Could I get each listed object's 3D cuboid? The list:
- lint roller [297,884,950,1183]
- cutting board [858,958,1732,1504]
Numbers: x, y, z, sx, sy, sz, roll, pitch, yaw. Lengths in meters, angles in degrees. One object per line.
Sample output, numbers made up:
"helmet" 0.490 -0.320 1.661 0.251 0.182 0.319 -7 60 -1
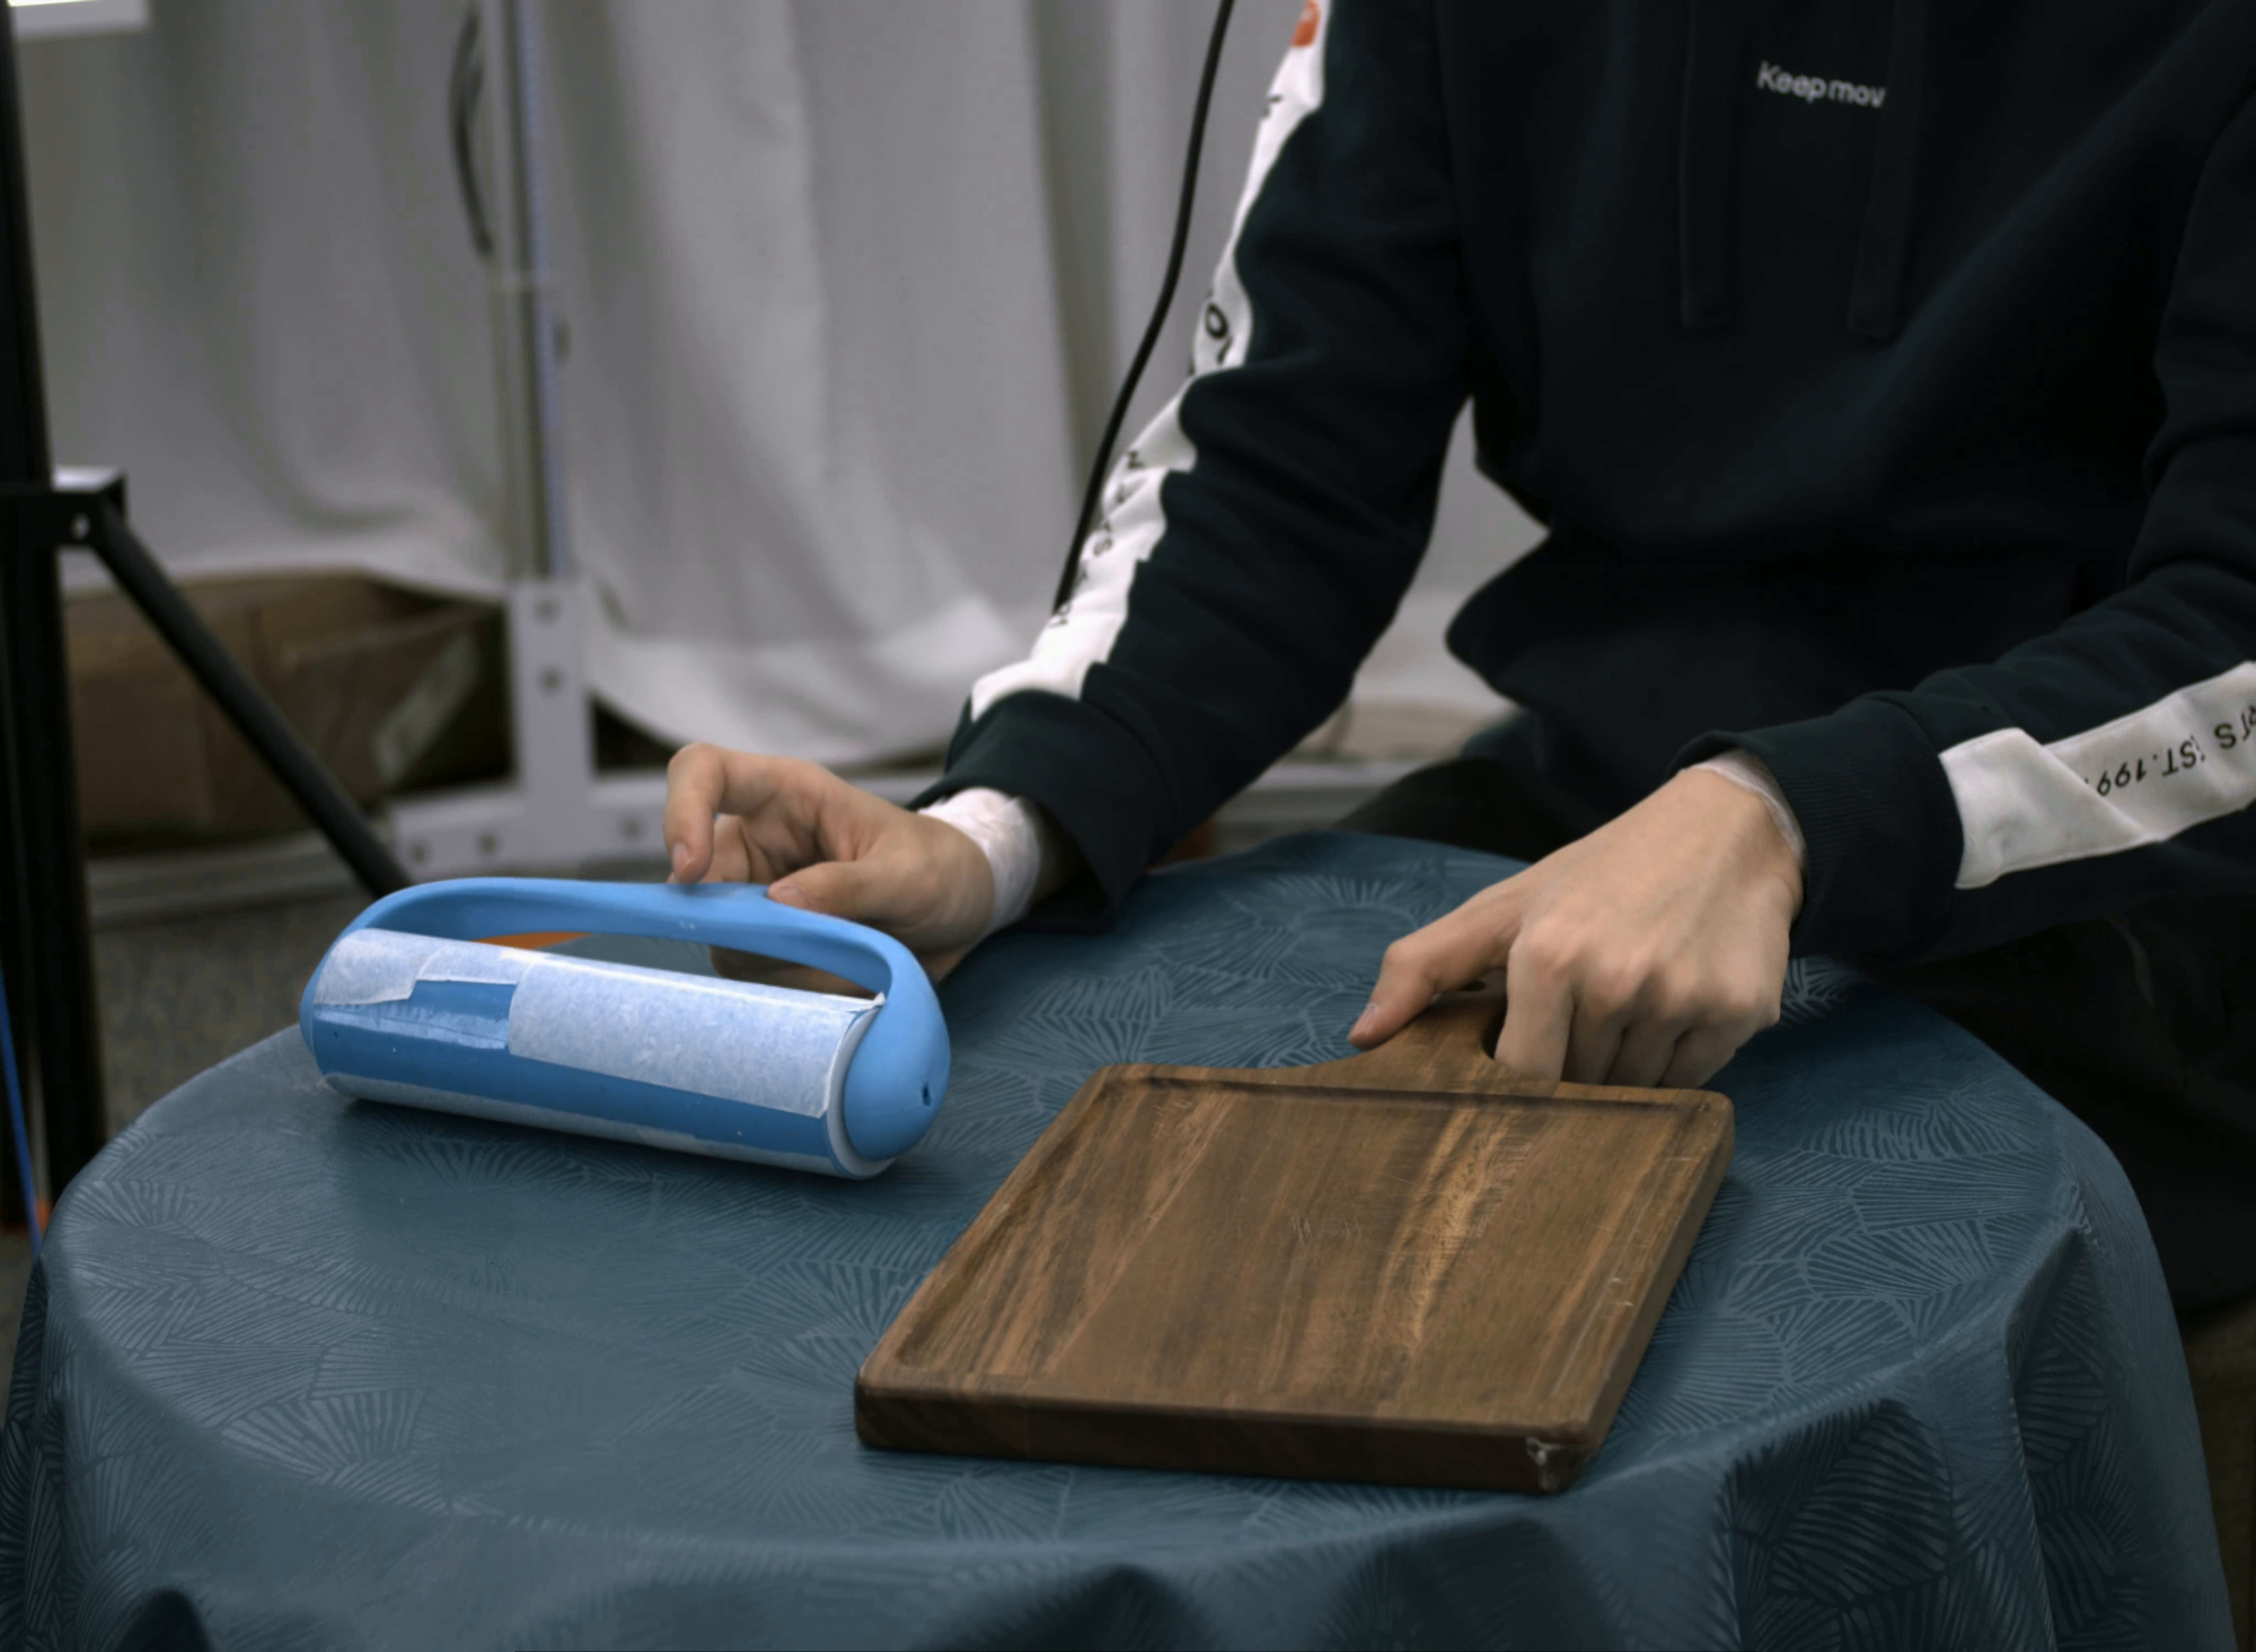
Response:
"lint roller" -0.130 0.051 1.672 0.233 0.068 0.177 4 19 29
"cutting board" 0.065 0.105 1.502 0.203 0.023 0.349 2 18 15
